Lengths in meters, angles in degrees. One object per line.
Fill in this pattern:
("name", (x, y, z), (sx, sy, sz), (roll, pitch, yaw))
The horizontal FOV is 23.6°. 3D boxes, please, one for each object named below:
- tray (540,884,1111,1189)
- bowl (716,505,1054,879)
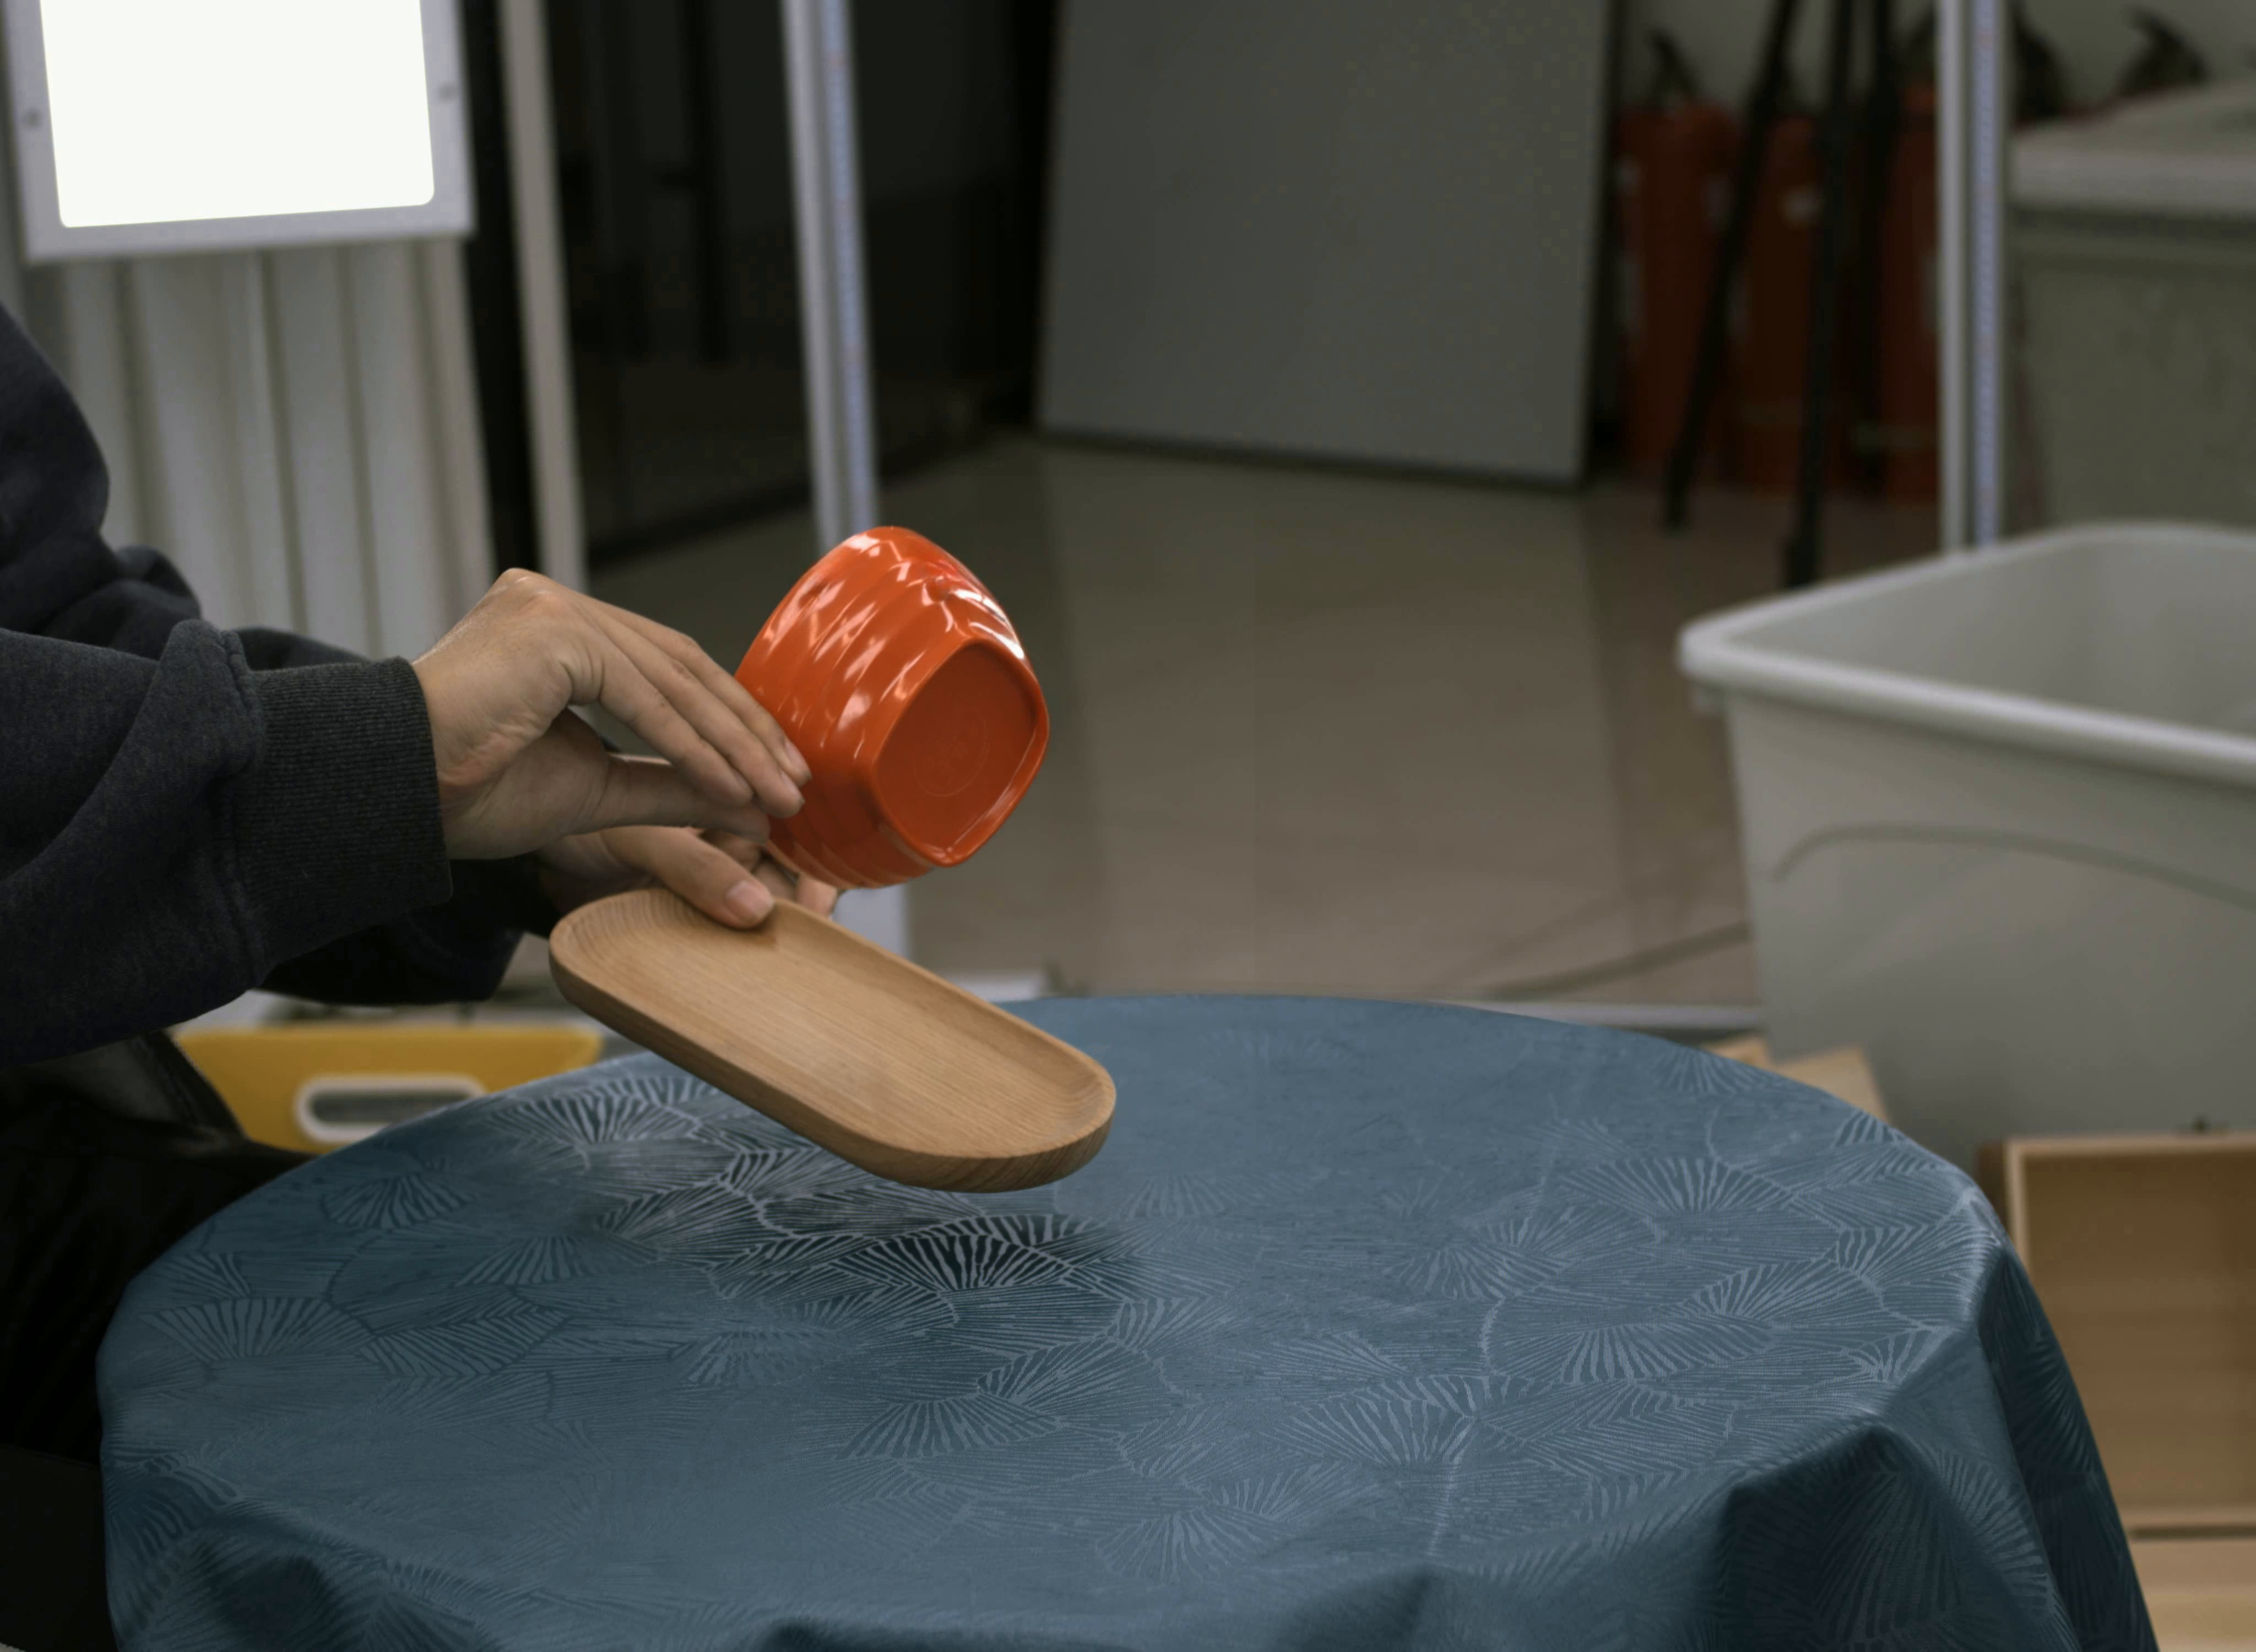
("tray", (-0.100, 0.067, 1.758), (0.099, 0.020, 0.233), (-15, 28, -41))
("bowl", (-0.067, -0.034, 1.667), (0.116, 0.120, 0.052), (-15, 29, -41))
